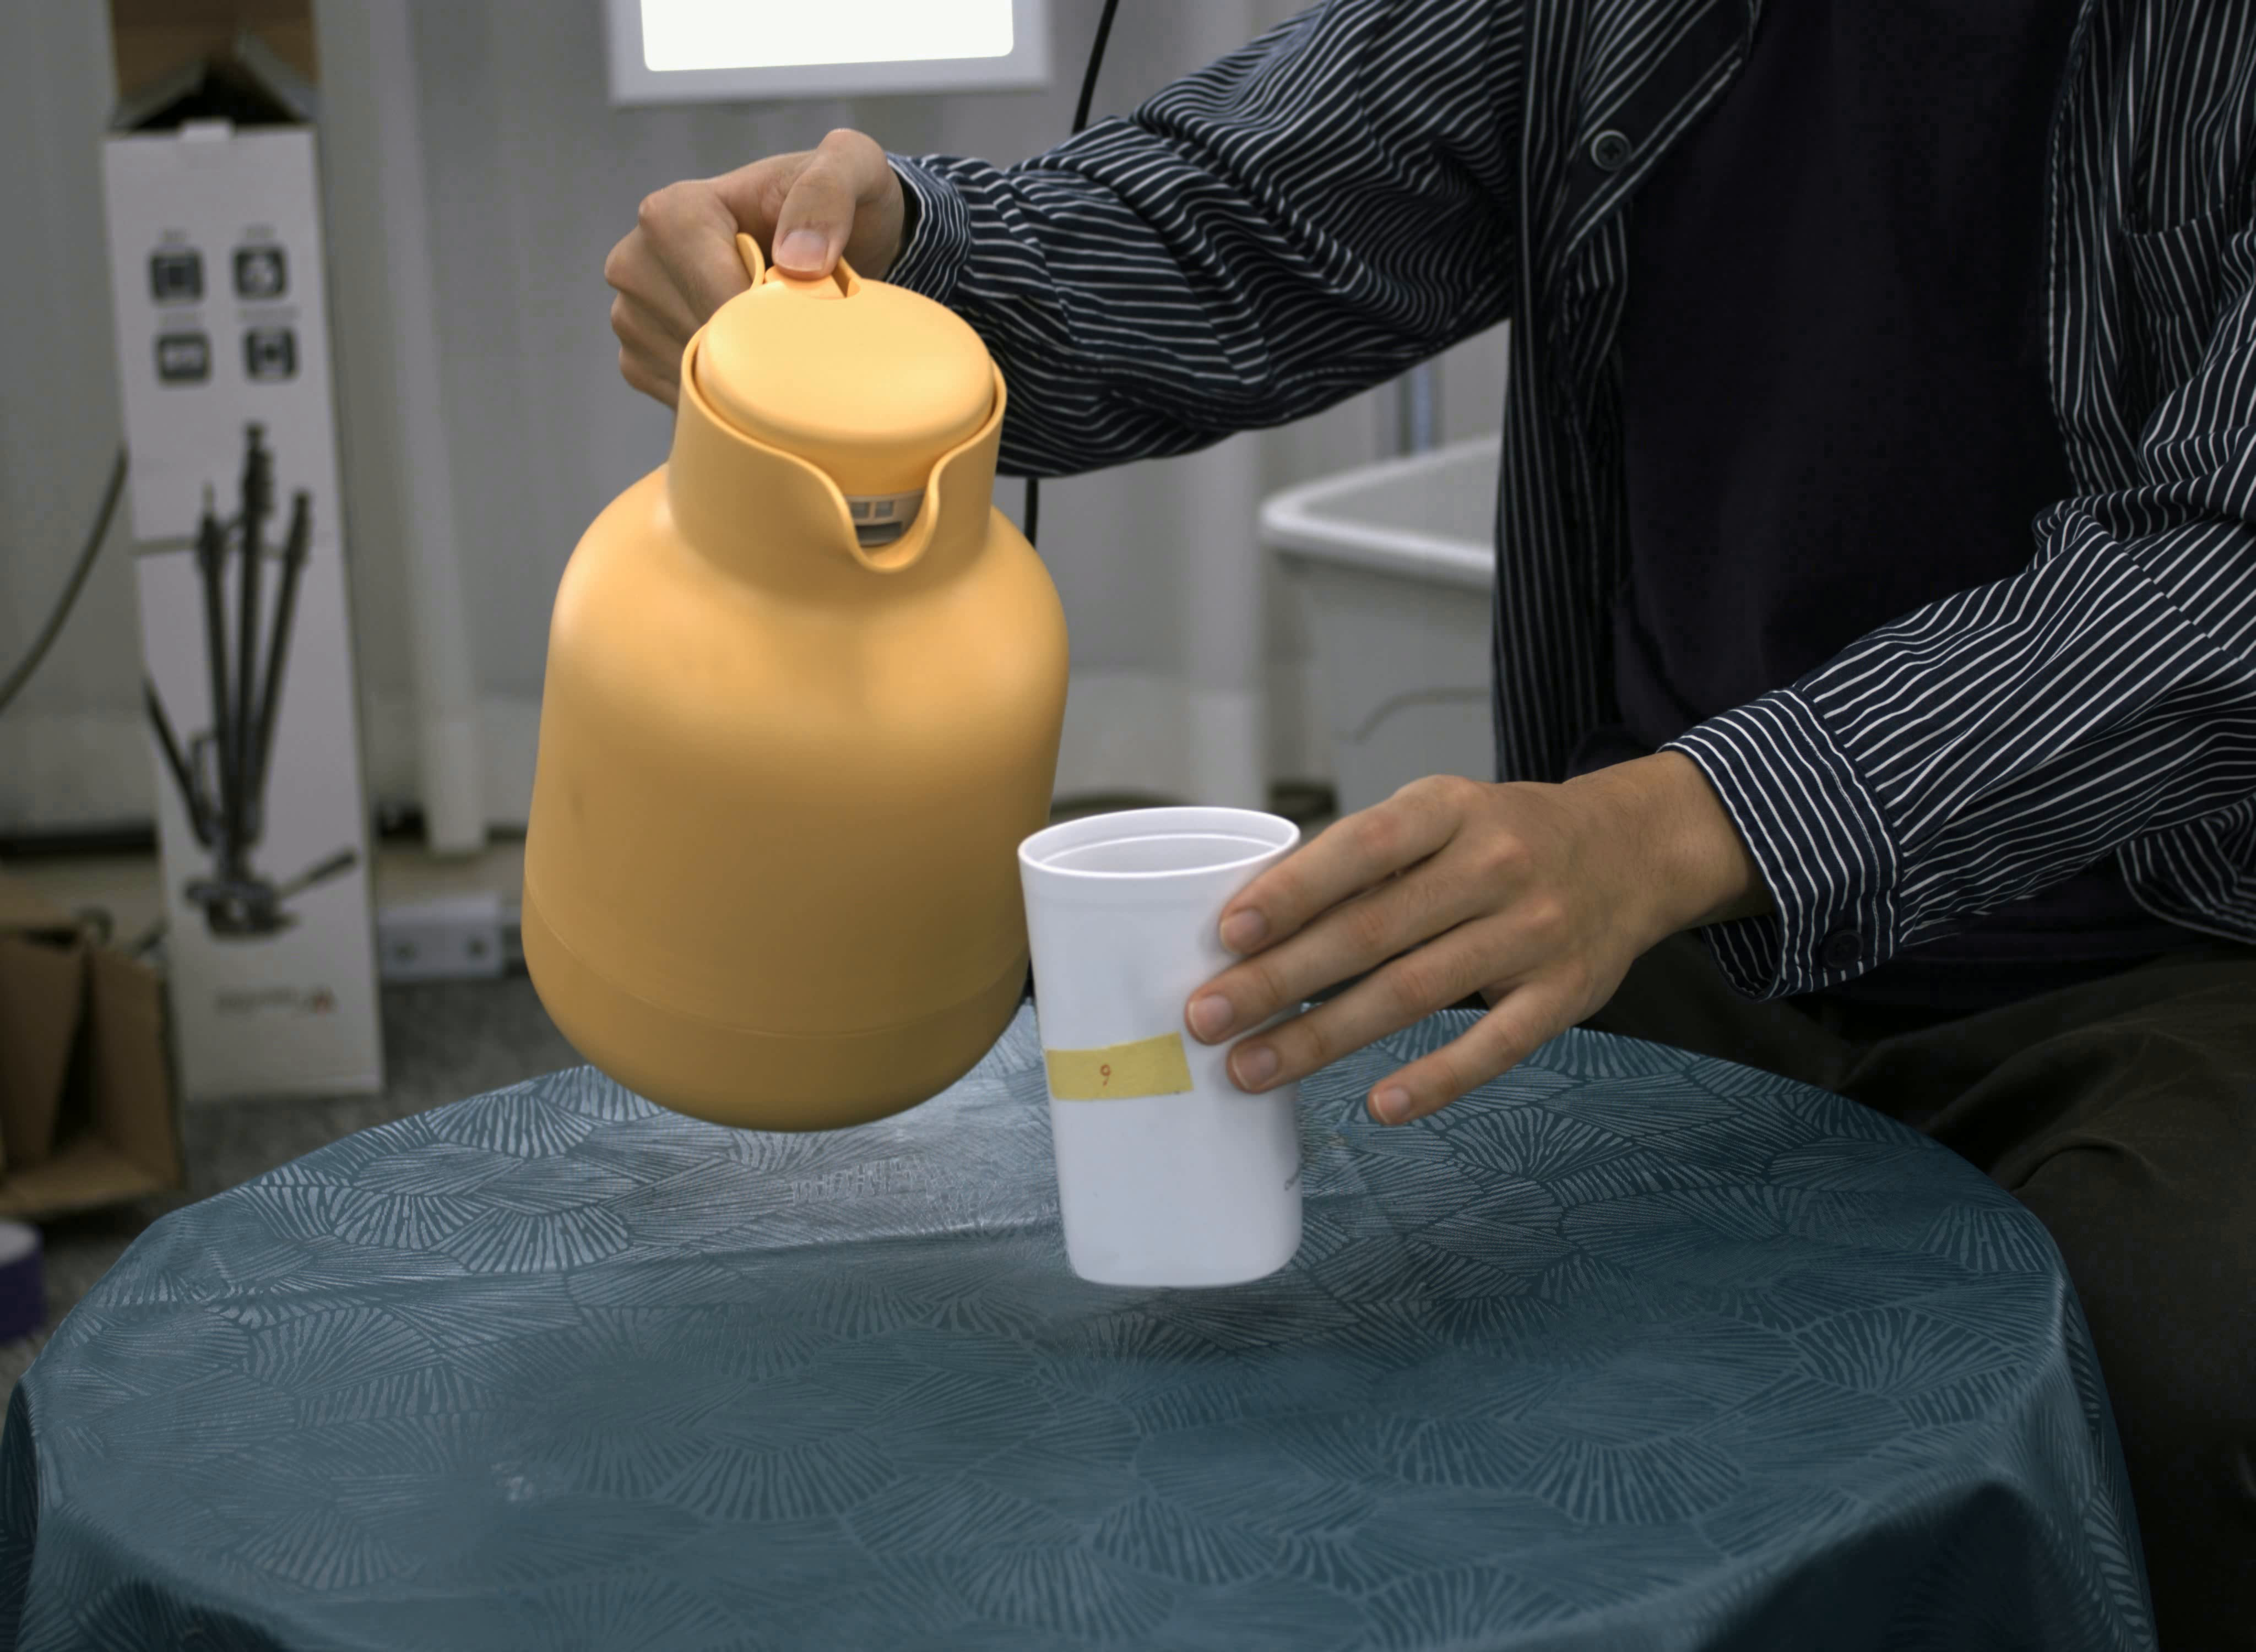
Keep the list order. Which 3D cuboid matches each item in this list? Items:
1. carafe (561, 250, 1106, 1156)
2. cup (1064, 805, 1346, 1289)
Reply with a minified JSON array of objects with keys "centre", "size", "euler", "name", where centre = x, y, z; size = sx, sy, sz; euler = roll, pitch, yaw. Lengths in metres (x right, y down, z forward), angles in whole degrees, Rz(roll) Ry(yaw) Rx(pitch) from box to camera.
[{"centre":[-0.092,-0.047,1.700],"size":[0.162,0.257,0.205],"euler":[-3,38,-17],"name":"carafe"},{"centre":[0.025,0.064,1.569],"size":[0.081,0.125,0.082],"euler":[-3,11,0],"name":"cup"}]
